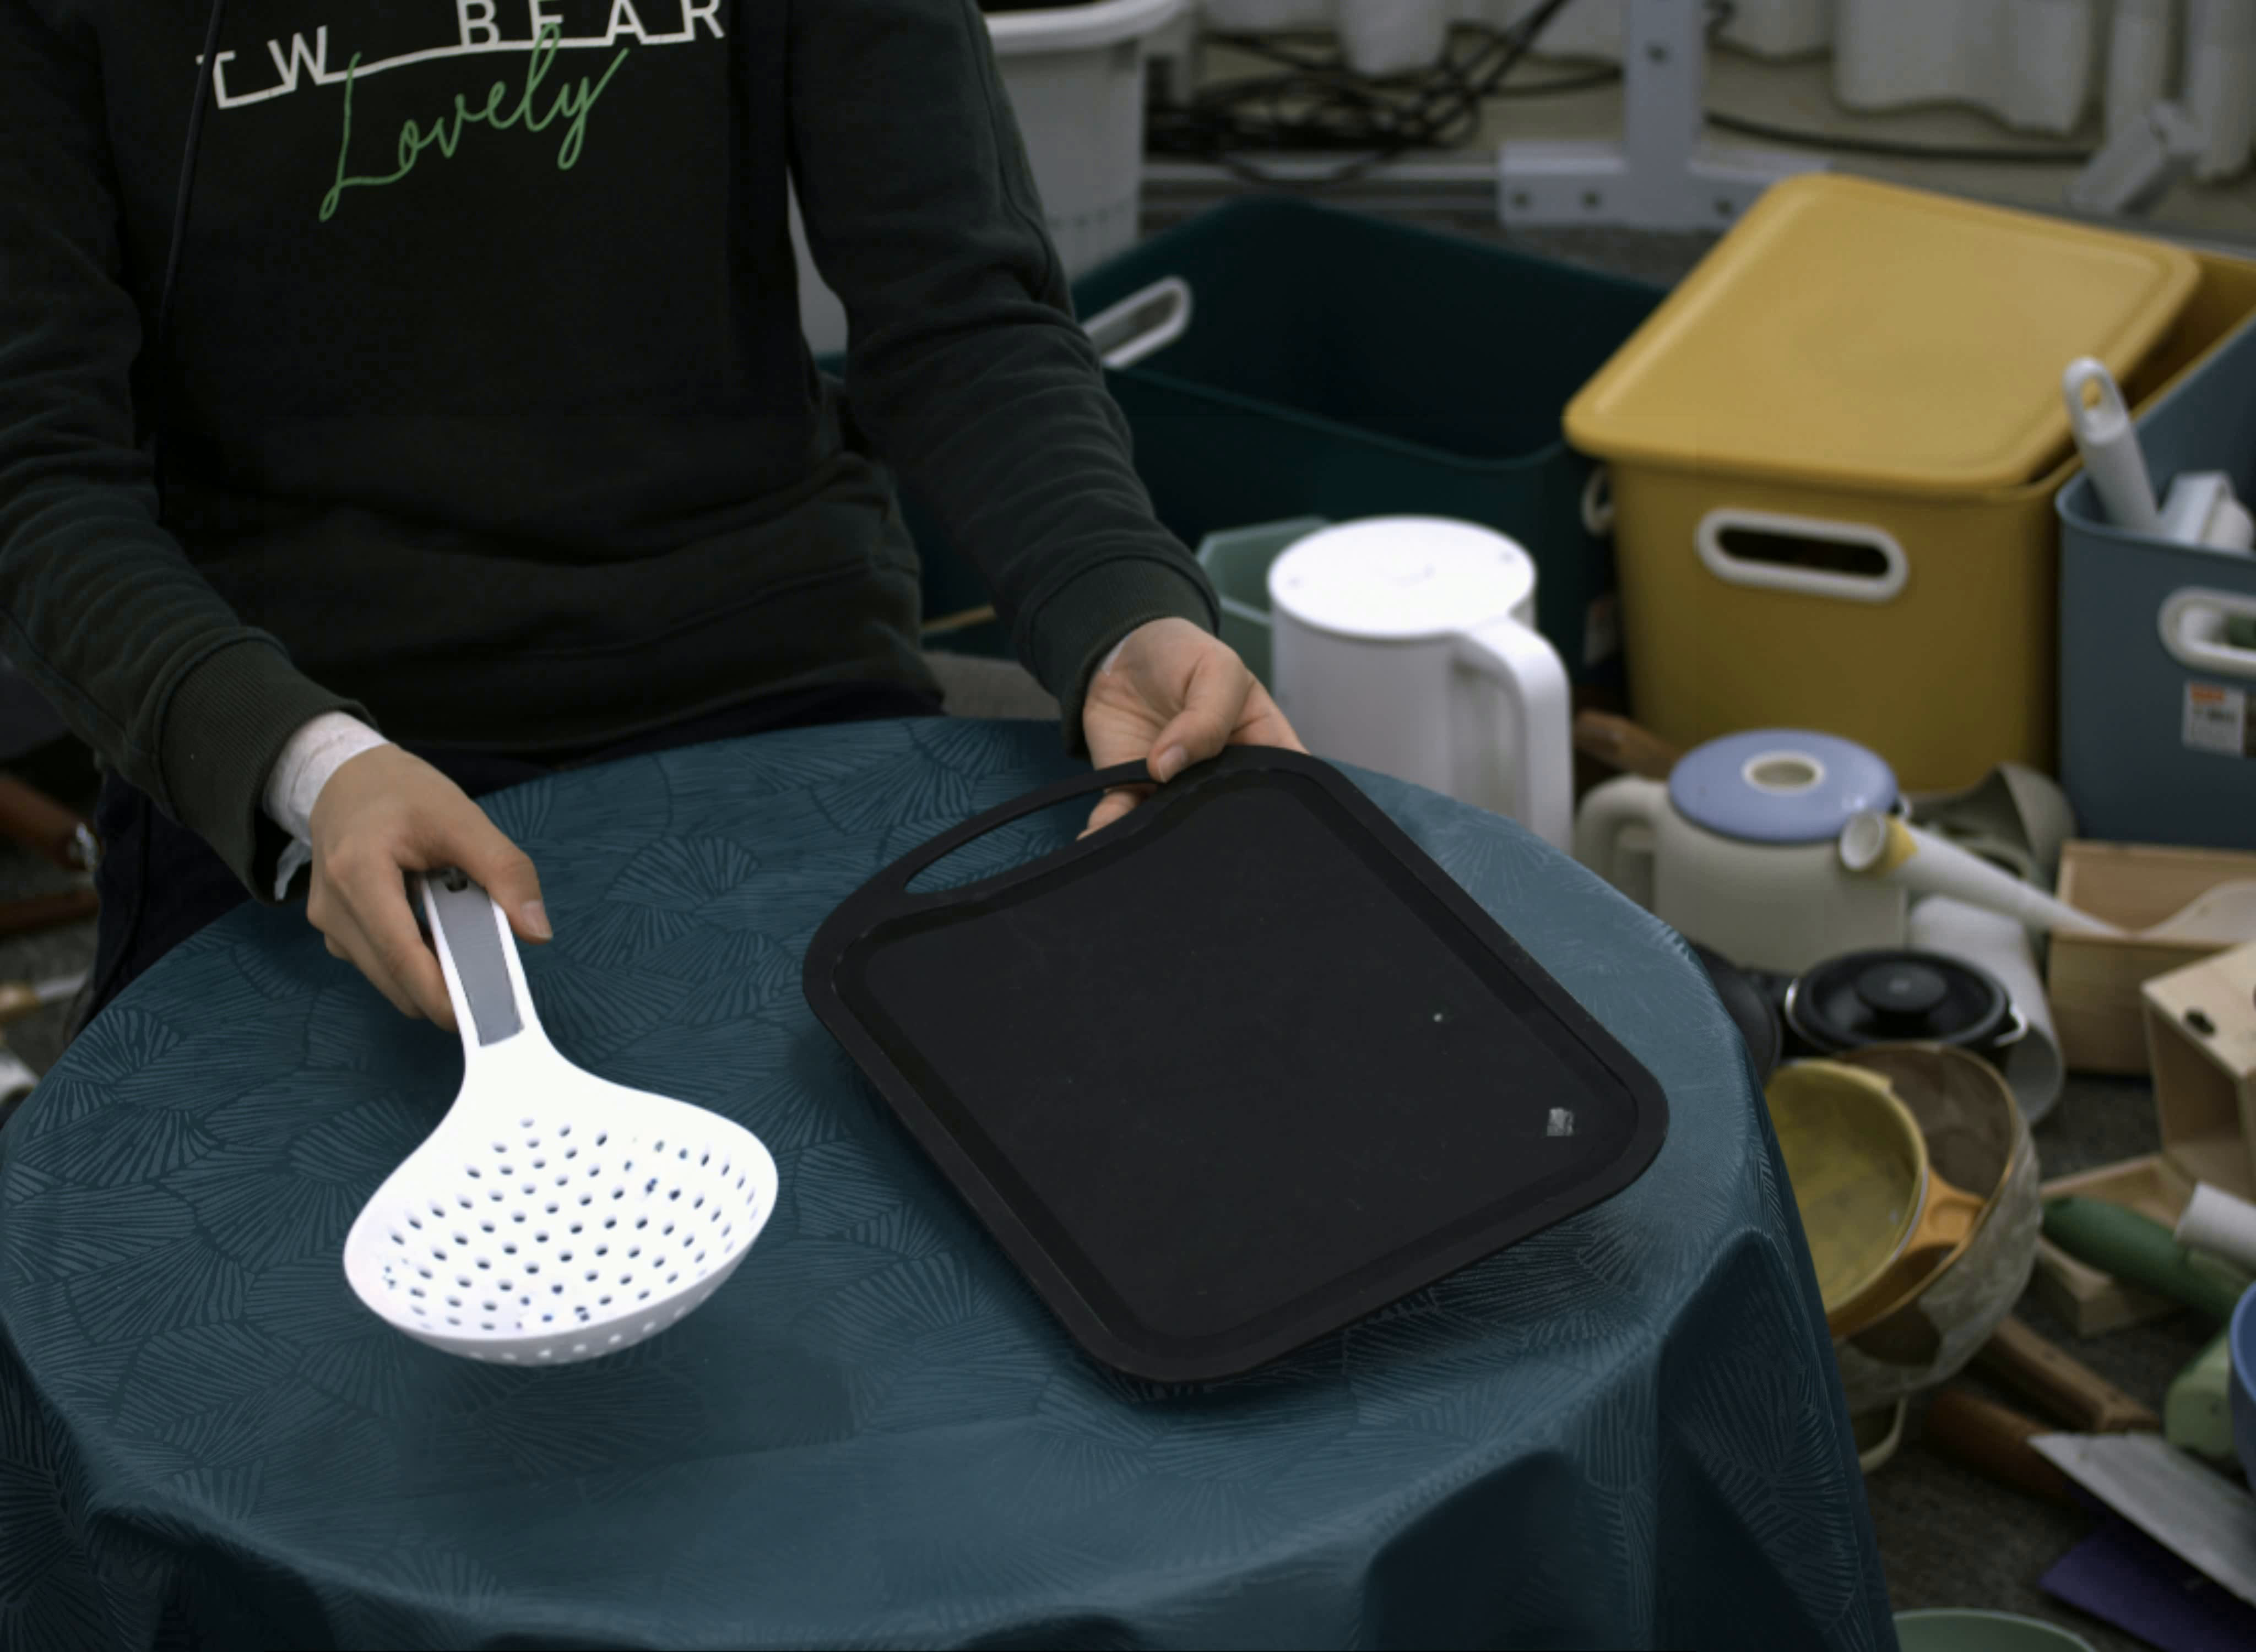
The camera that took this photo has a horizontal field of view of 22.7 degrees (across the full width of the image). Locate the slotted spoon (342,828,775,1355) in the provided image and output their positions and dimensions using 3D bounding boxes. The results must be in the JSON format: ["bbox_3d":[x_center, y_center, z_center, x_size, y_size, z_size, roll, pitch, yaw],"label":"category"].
[{"bbox_3d":[-0.200,0.080,1.833,0.136,0.045,0.354,-12,31,-9],"label":"slotted spoon"}]

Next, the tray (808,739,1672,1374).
[{"bbox_3d":[0.027,0.065,1.876,0.212,0.009,0.328,-23,36,-16],"label":"tray"}]
